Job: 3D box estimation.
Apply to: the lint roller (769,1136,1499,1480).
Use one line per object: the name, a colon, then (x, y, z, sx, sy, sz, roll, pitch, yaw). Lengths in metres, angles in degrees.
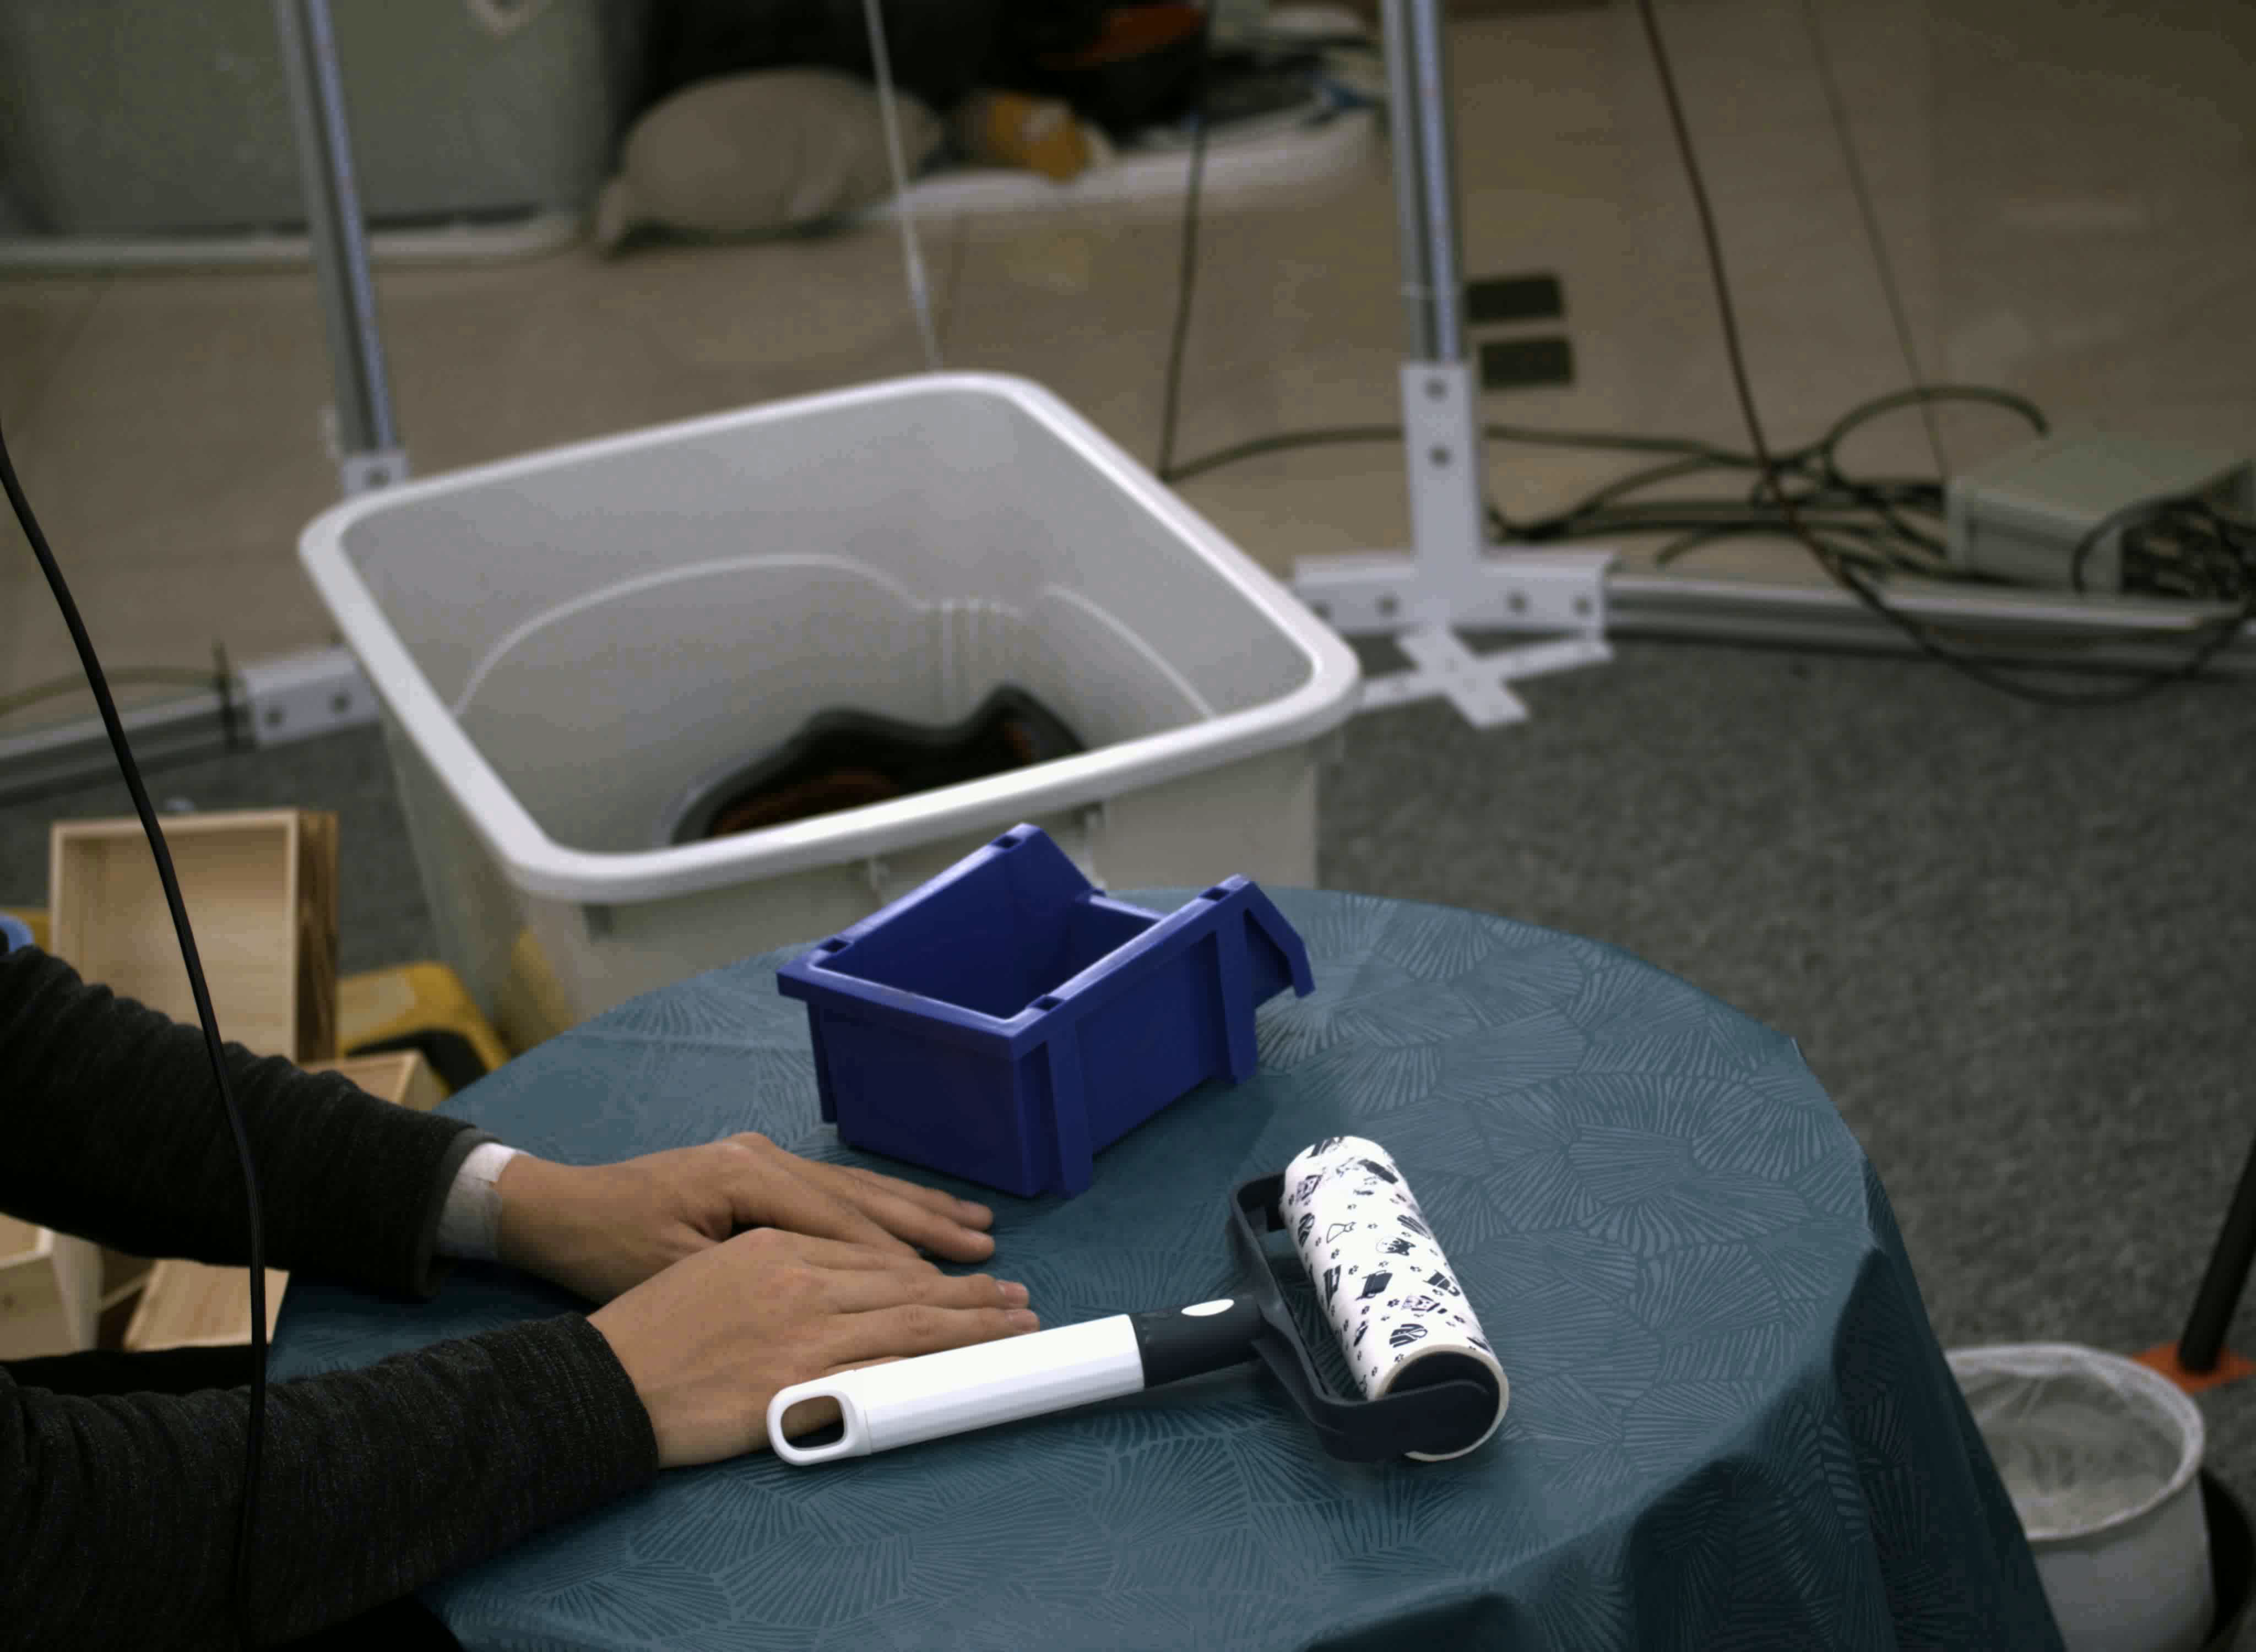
lint roller: (-0.006, 0.186, 1.998, 0.246, 0.051, 0.174, -11, 26, -7)

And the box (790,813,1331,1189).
box: (-0.025, 0.064, 2.218, 0.123, 0.083, 0.177, 15, 35, 38)
